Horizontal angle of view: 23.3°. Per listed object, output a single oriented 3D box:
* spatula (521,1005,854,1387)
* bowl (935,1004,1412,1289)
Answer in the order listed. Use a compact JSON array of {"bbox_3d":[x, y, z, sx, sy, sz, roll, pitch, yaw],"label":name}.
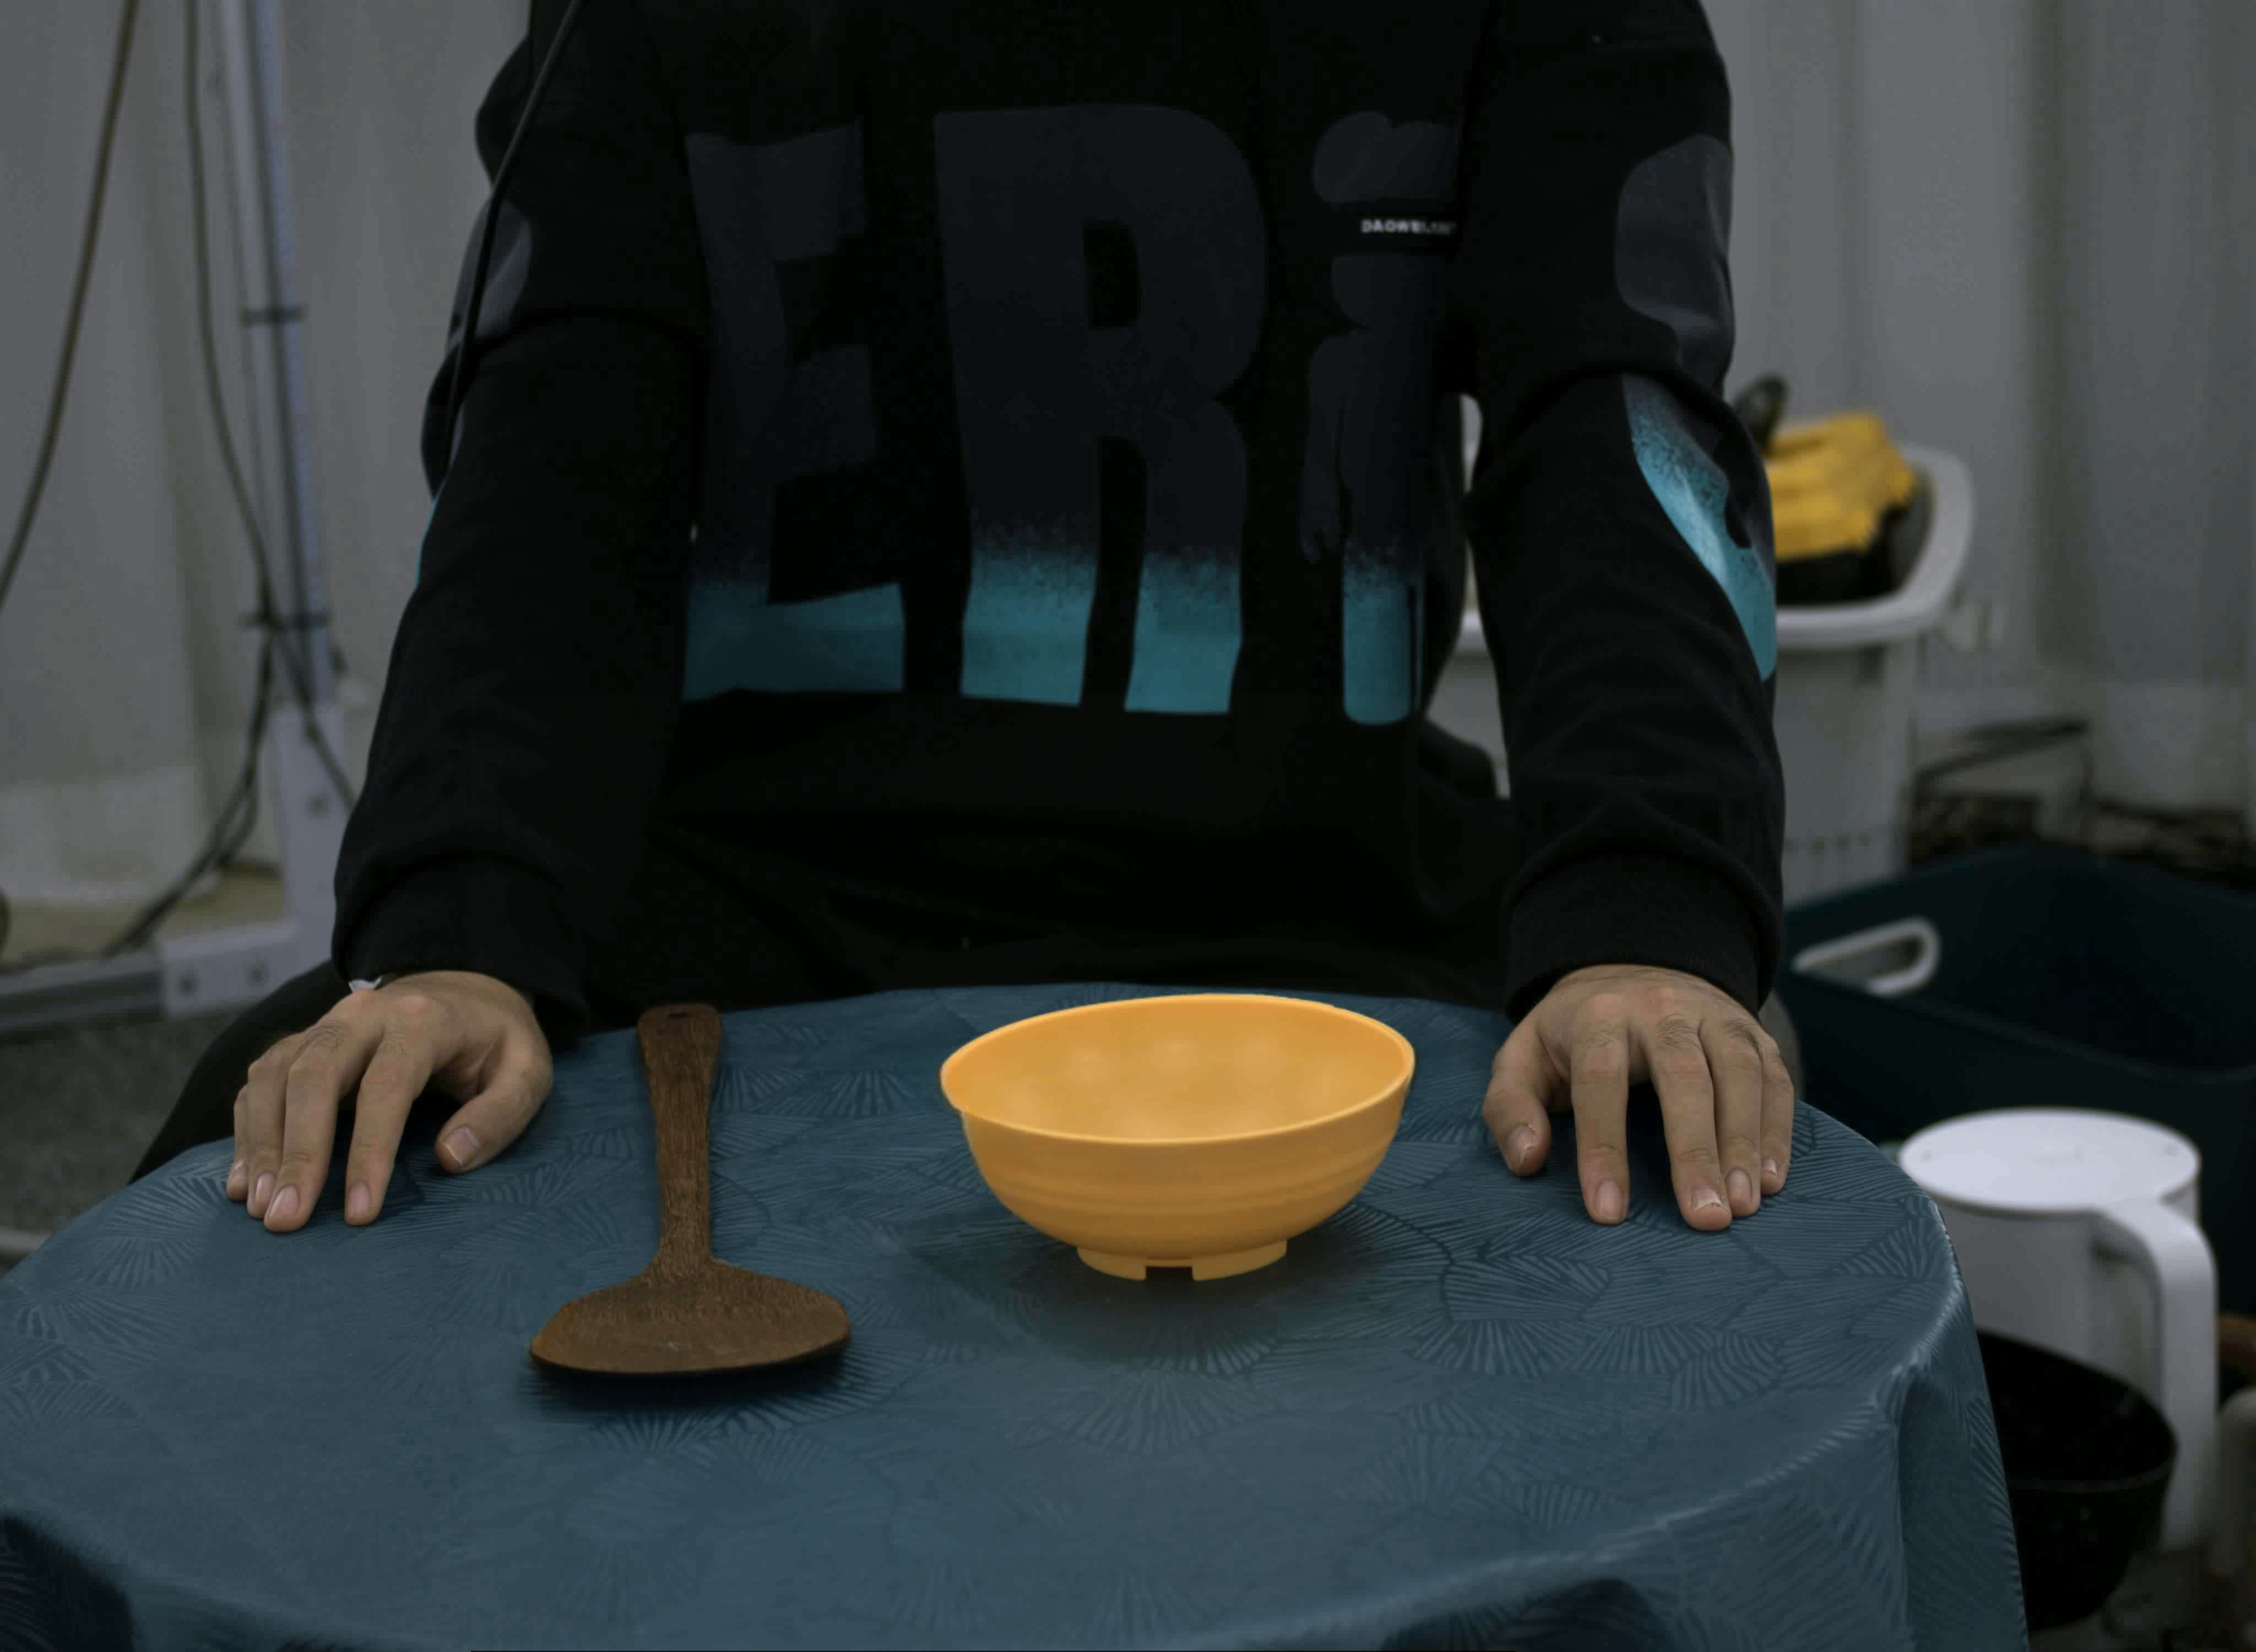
[{"bbox_3d":[-0.141,0.111,1.730,0.096,0.016,0.389,-3,15,-5],"label":"spatula"},{"bbox_3d":[0.014,0.102,1.655,0.145,0.060,0.146,0,14,0],"label":"bowl"}]
